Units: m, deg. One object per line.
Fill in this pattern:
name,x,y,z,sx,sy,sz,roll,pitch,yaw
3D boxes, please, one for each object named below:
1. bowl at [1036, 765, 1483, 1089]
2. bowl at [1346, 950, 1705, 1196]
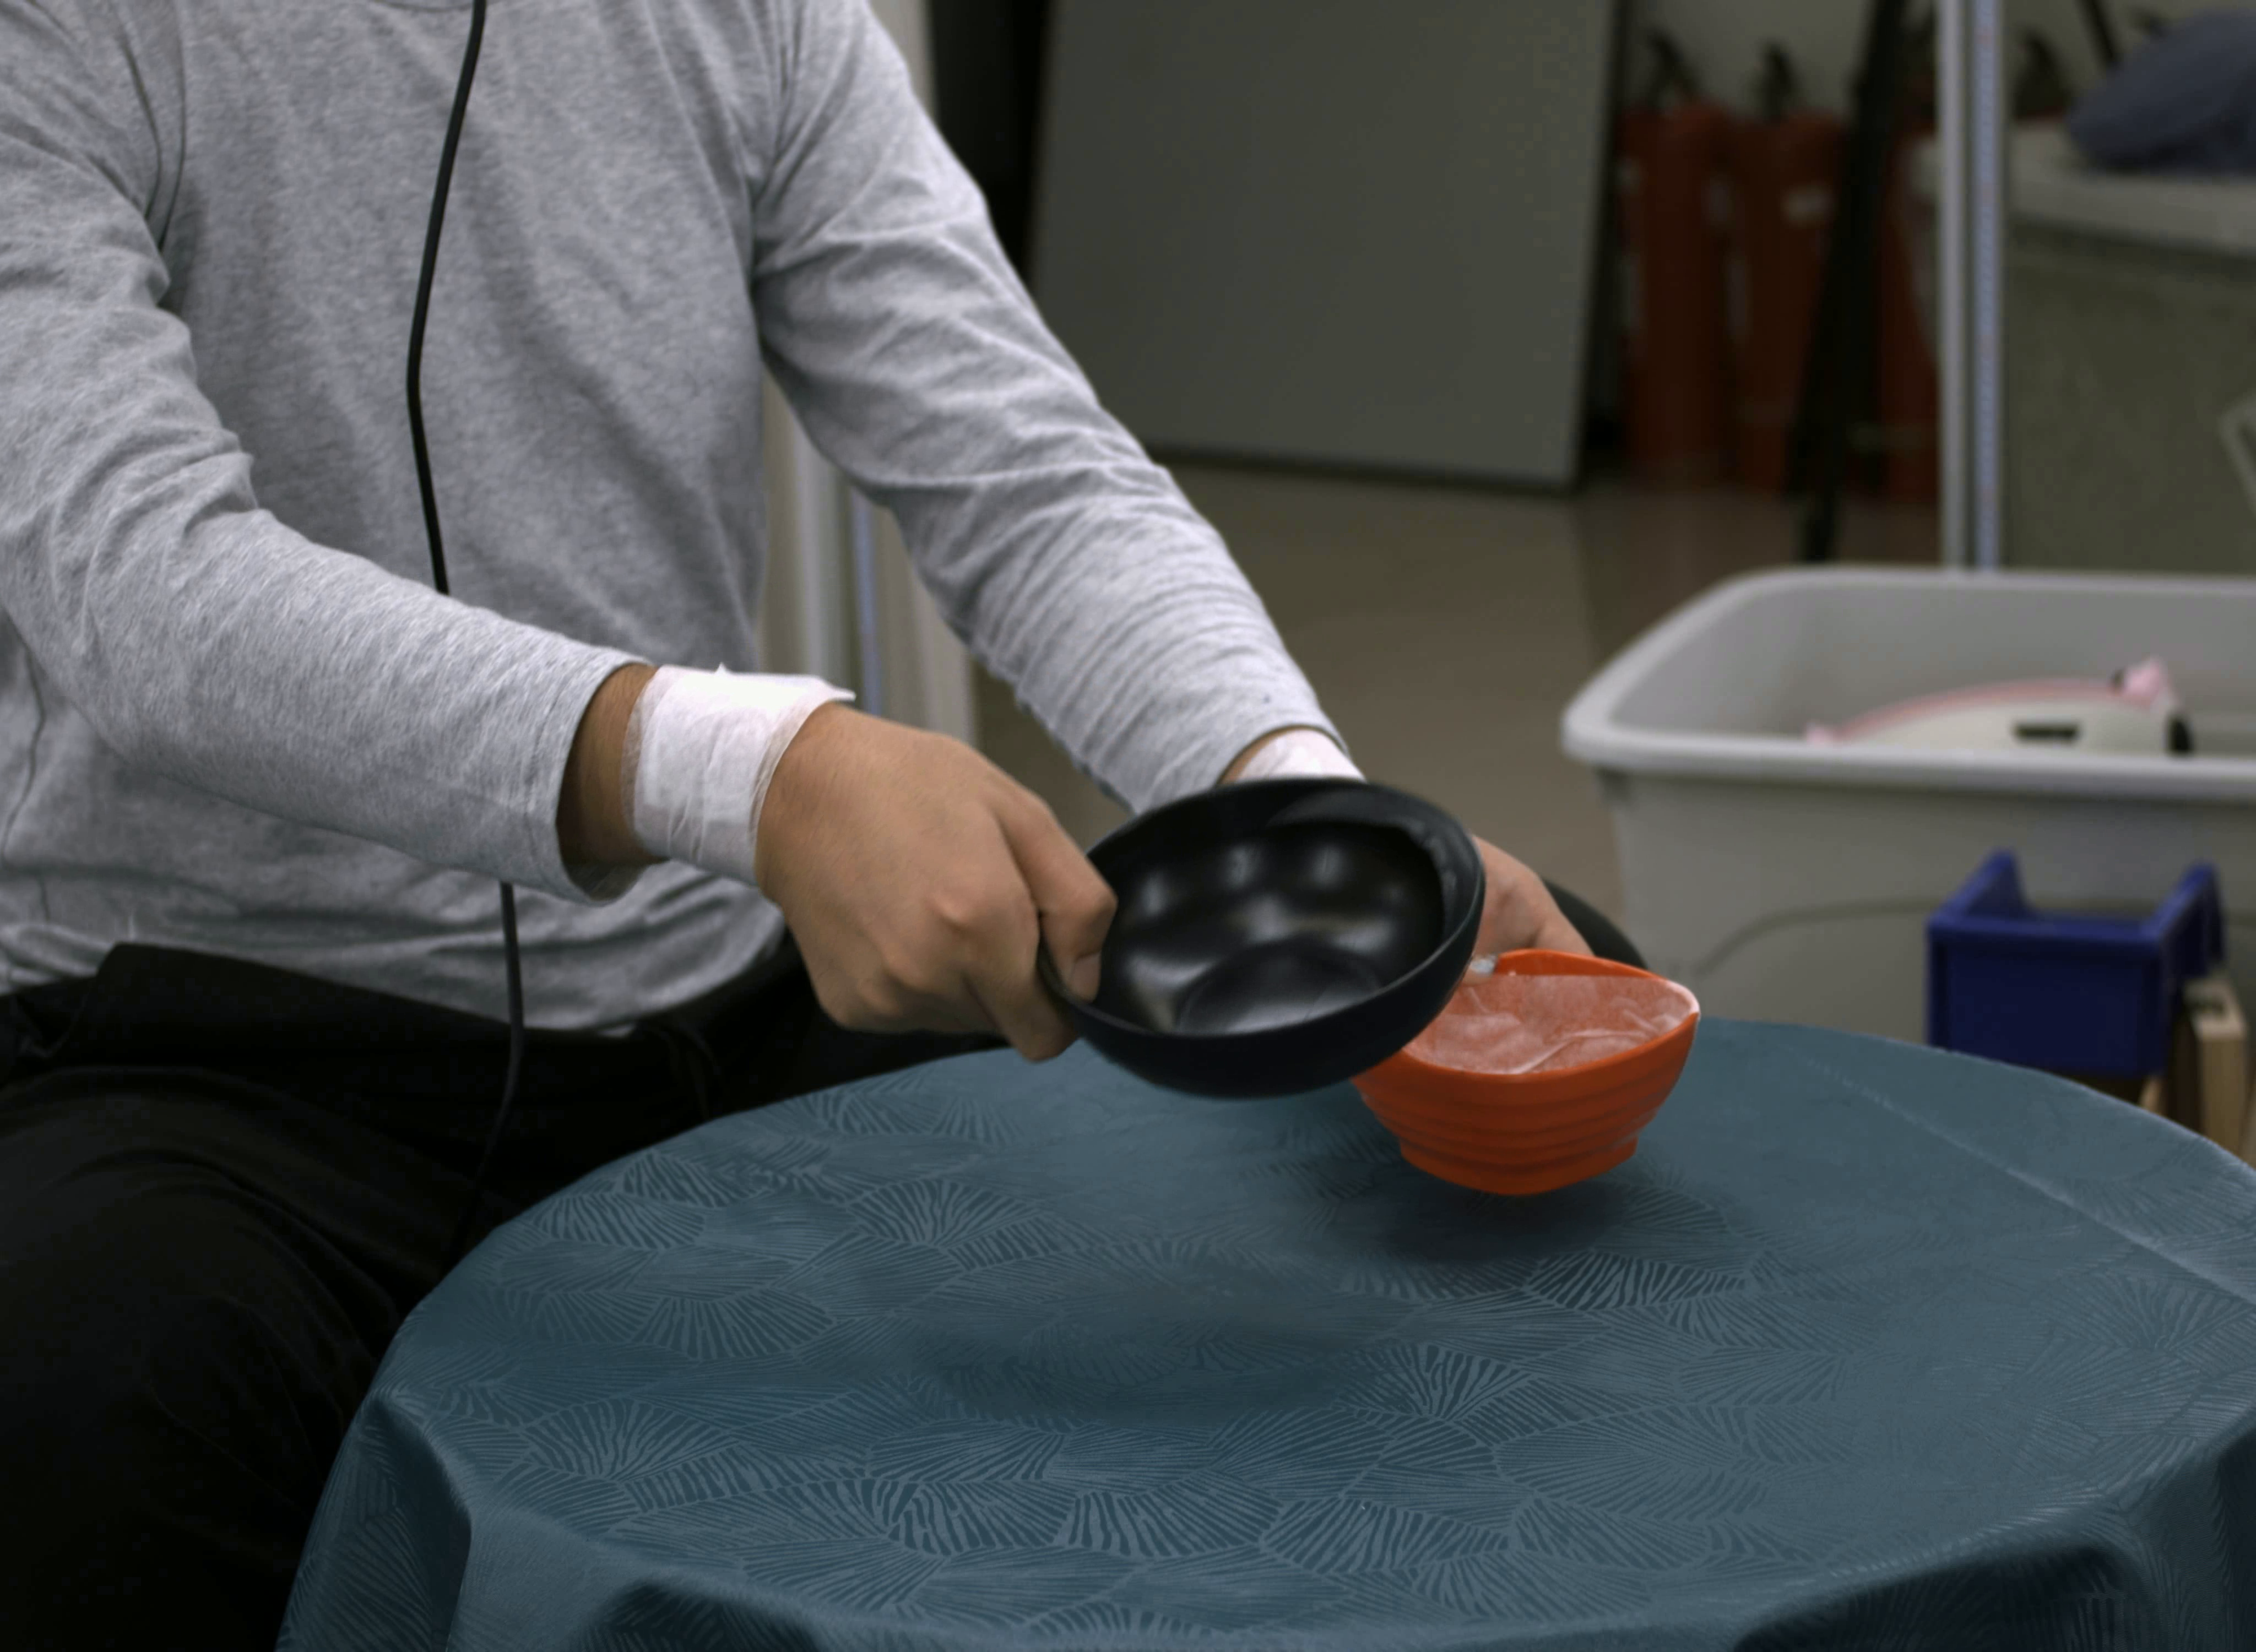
bowl,0.044,0.039,1.623,0.139,0.050,0.140,-14,28,6
bowl,0.128,0.081,1.731,0.117,0.052,0.119,-5,16,1
